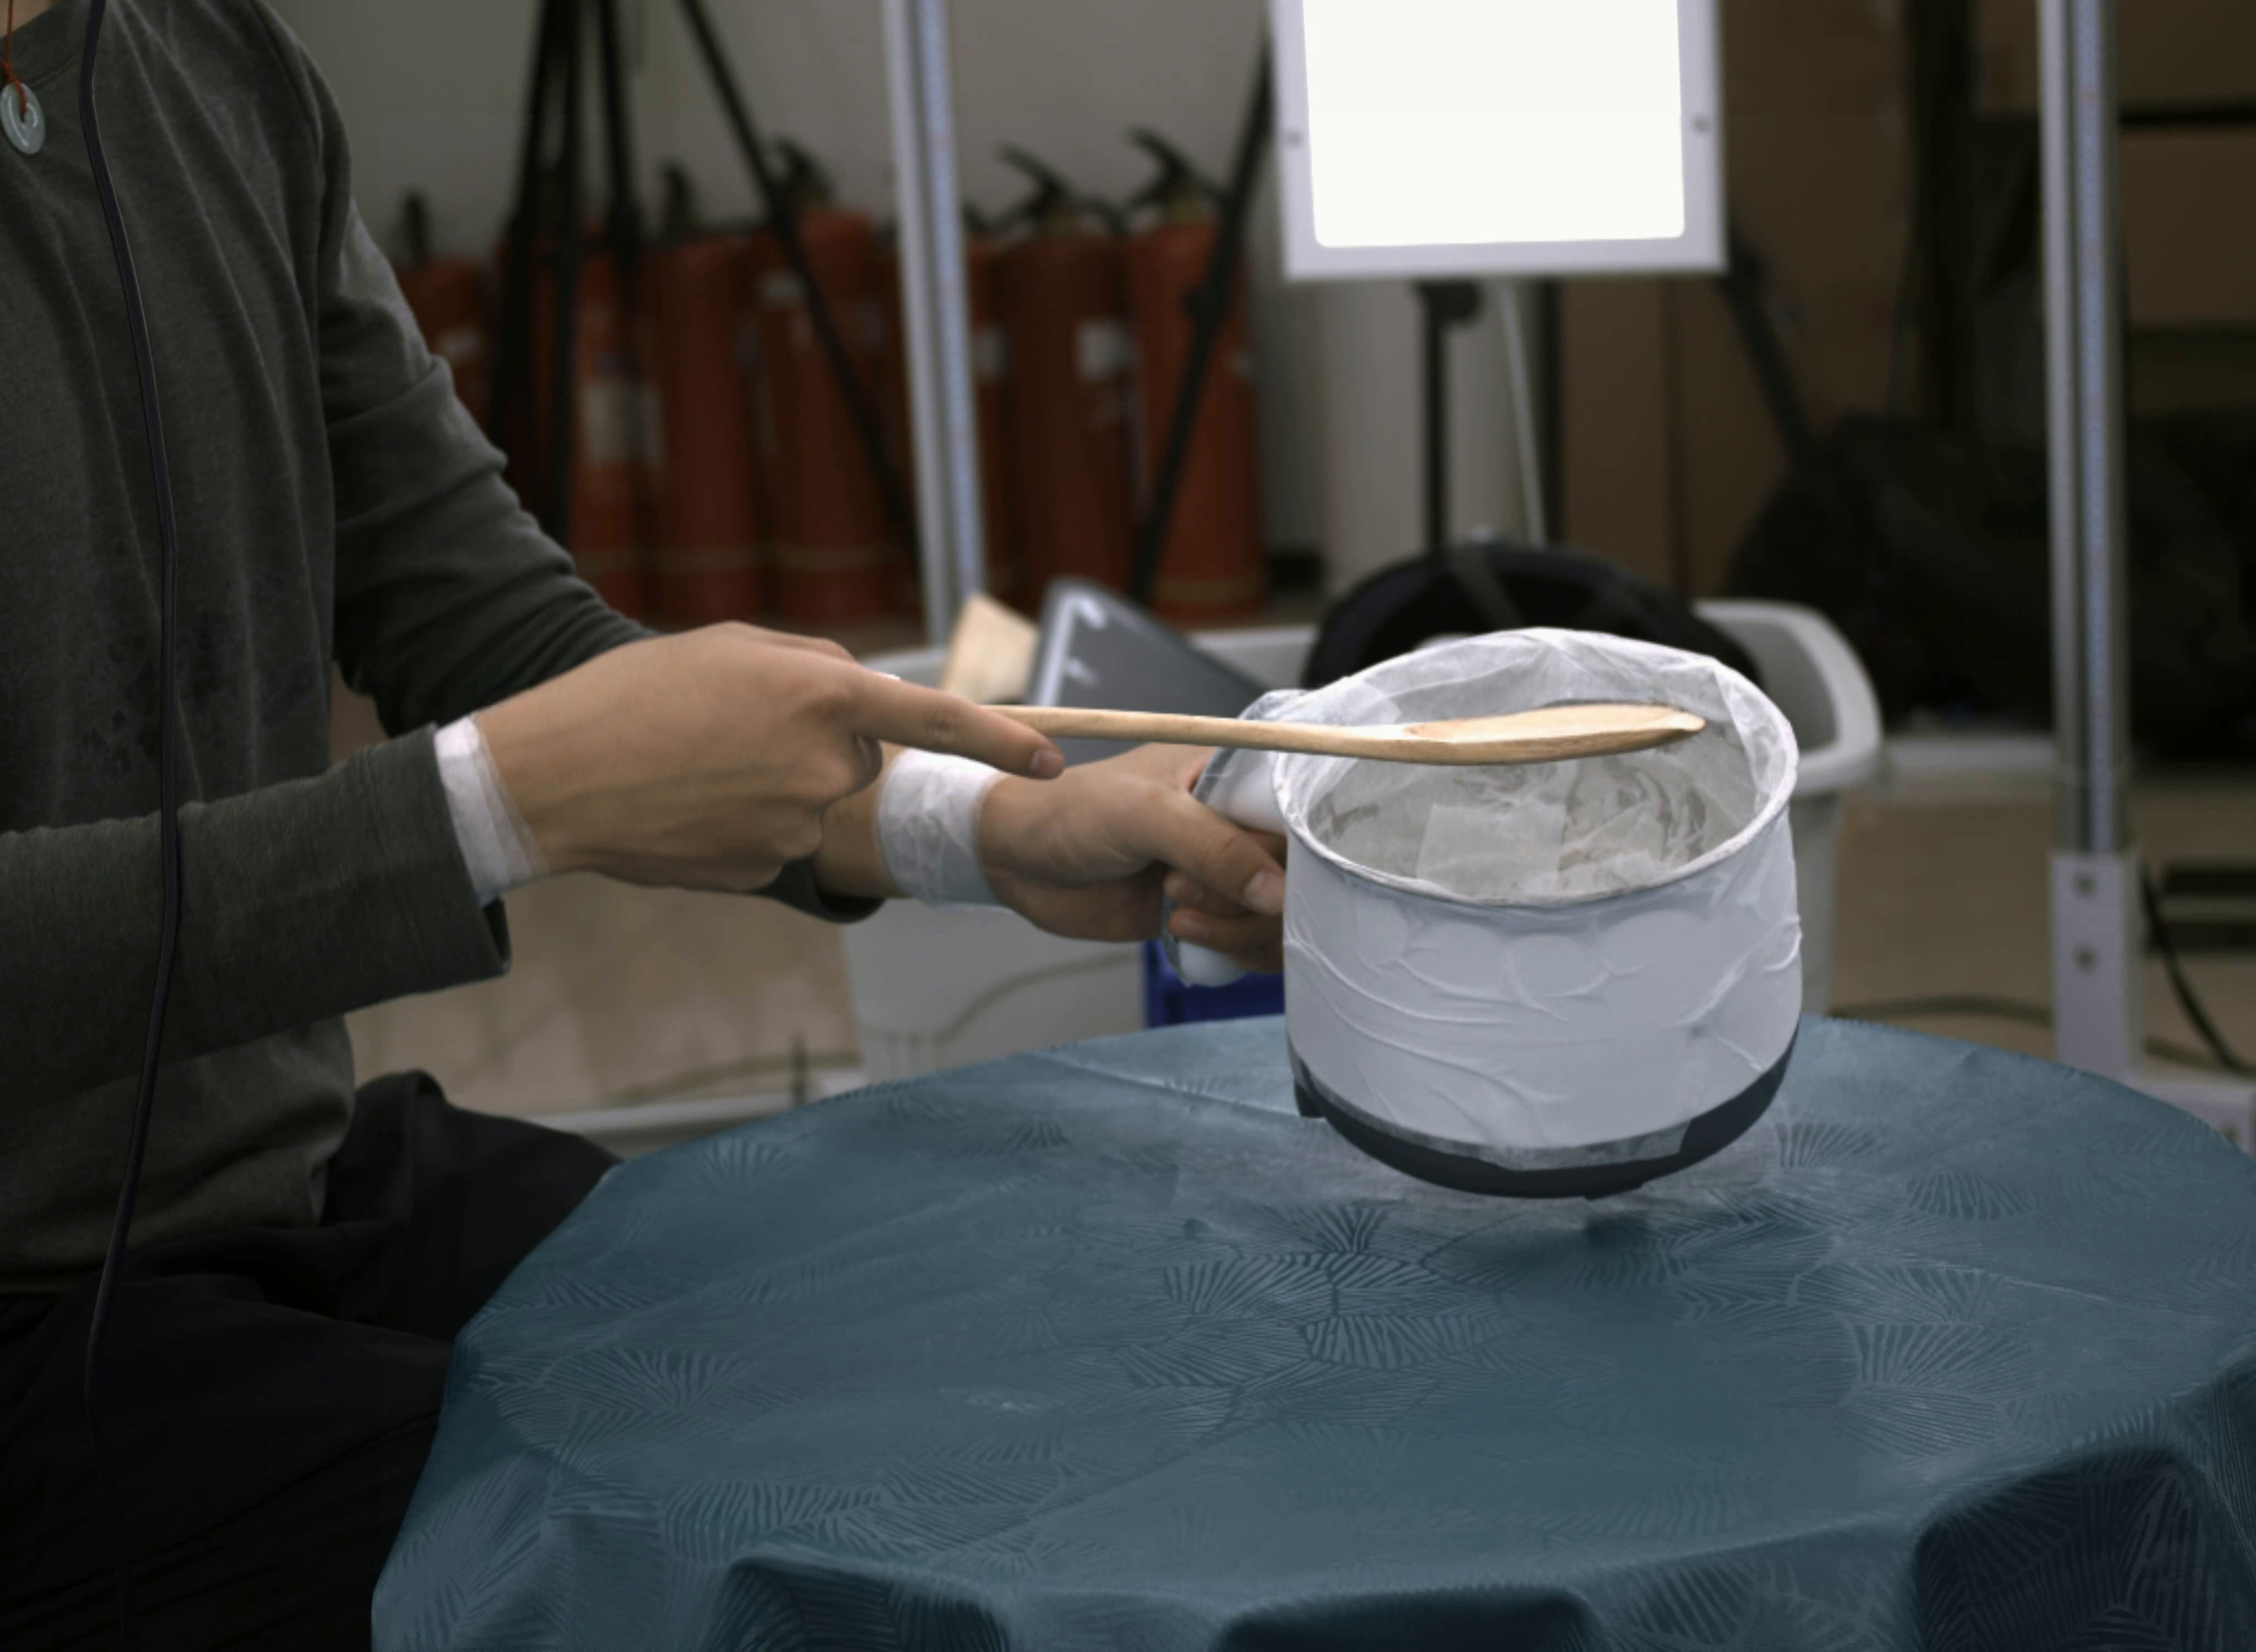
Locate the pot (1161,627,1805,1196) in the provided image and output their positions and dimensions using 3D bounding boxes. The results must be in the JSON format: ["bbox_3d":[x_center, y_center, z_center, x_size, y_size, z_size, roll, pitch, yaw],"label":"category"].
[{"bbox_3d":[0.116,0.026,1.876,0.237,0.137,0.175,12,34,27],"label":"pot"}]

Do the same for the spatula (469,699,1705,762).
[{"bbox_3d":[-0.014,-0.031,1.731,0.390,0.018,0.095,1,5,3],"label":"spatula"}]
